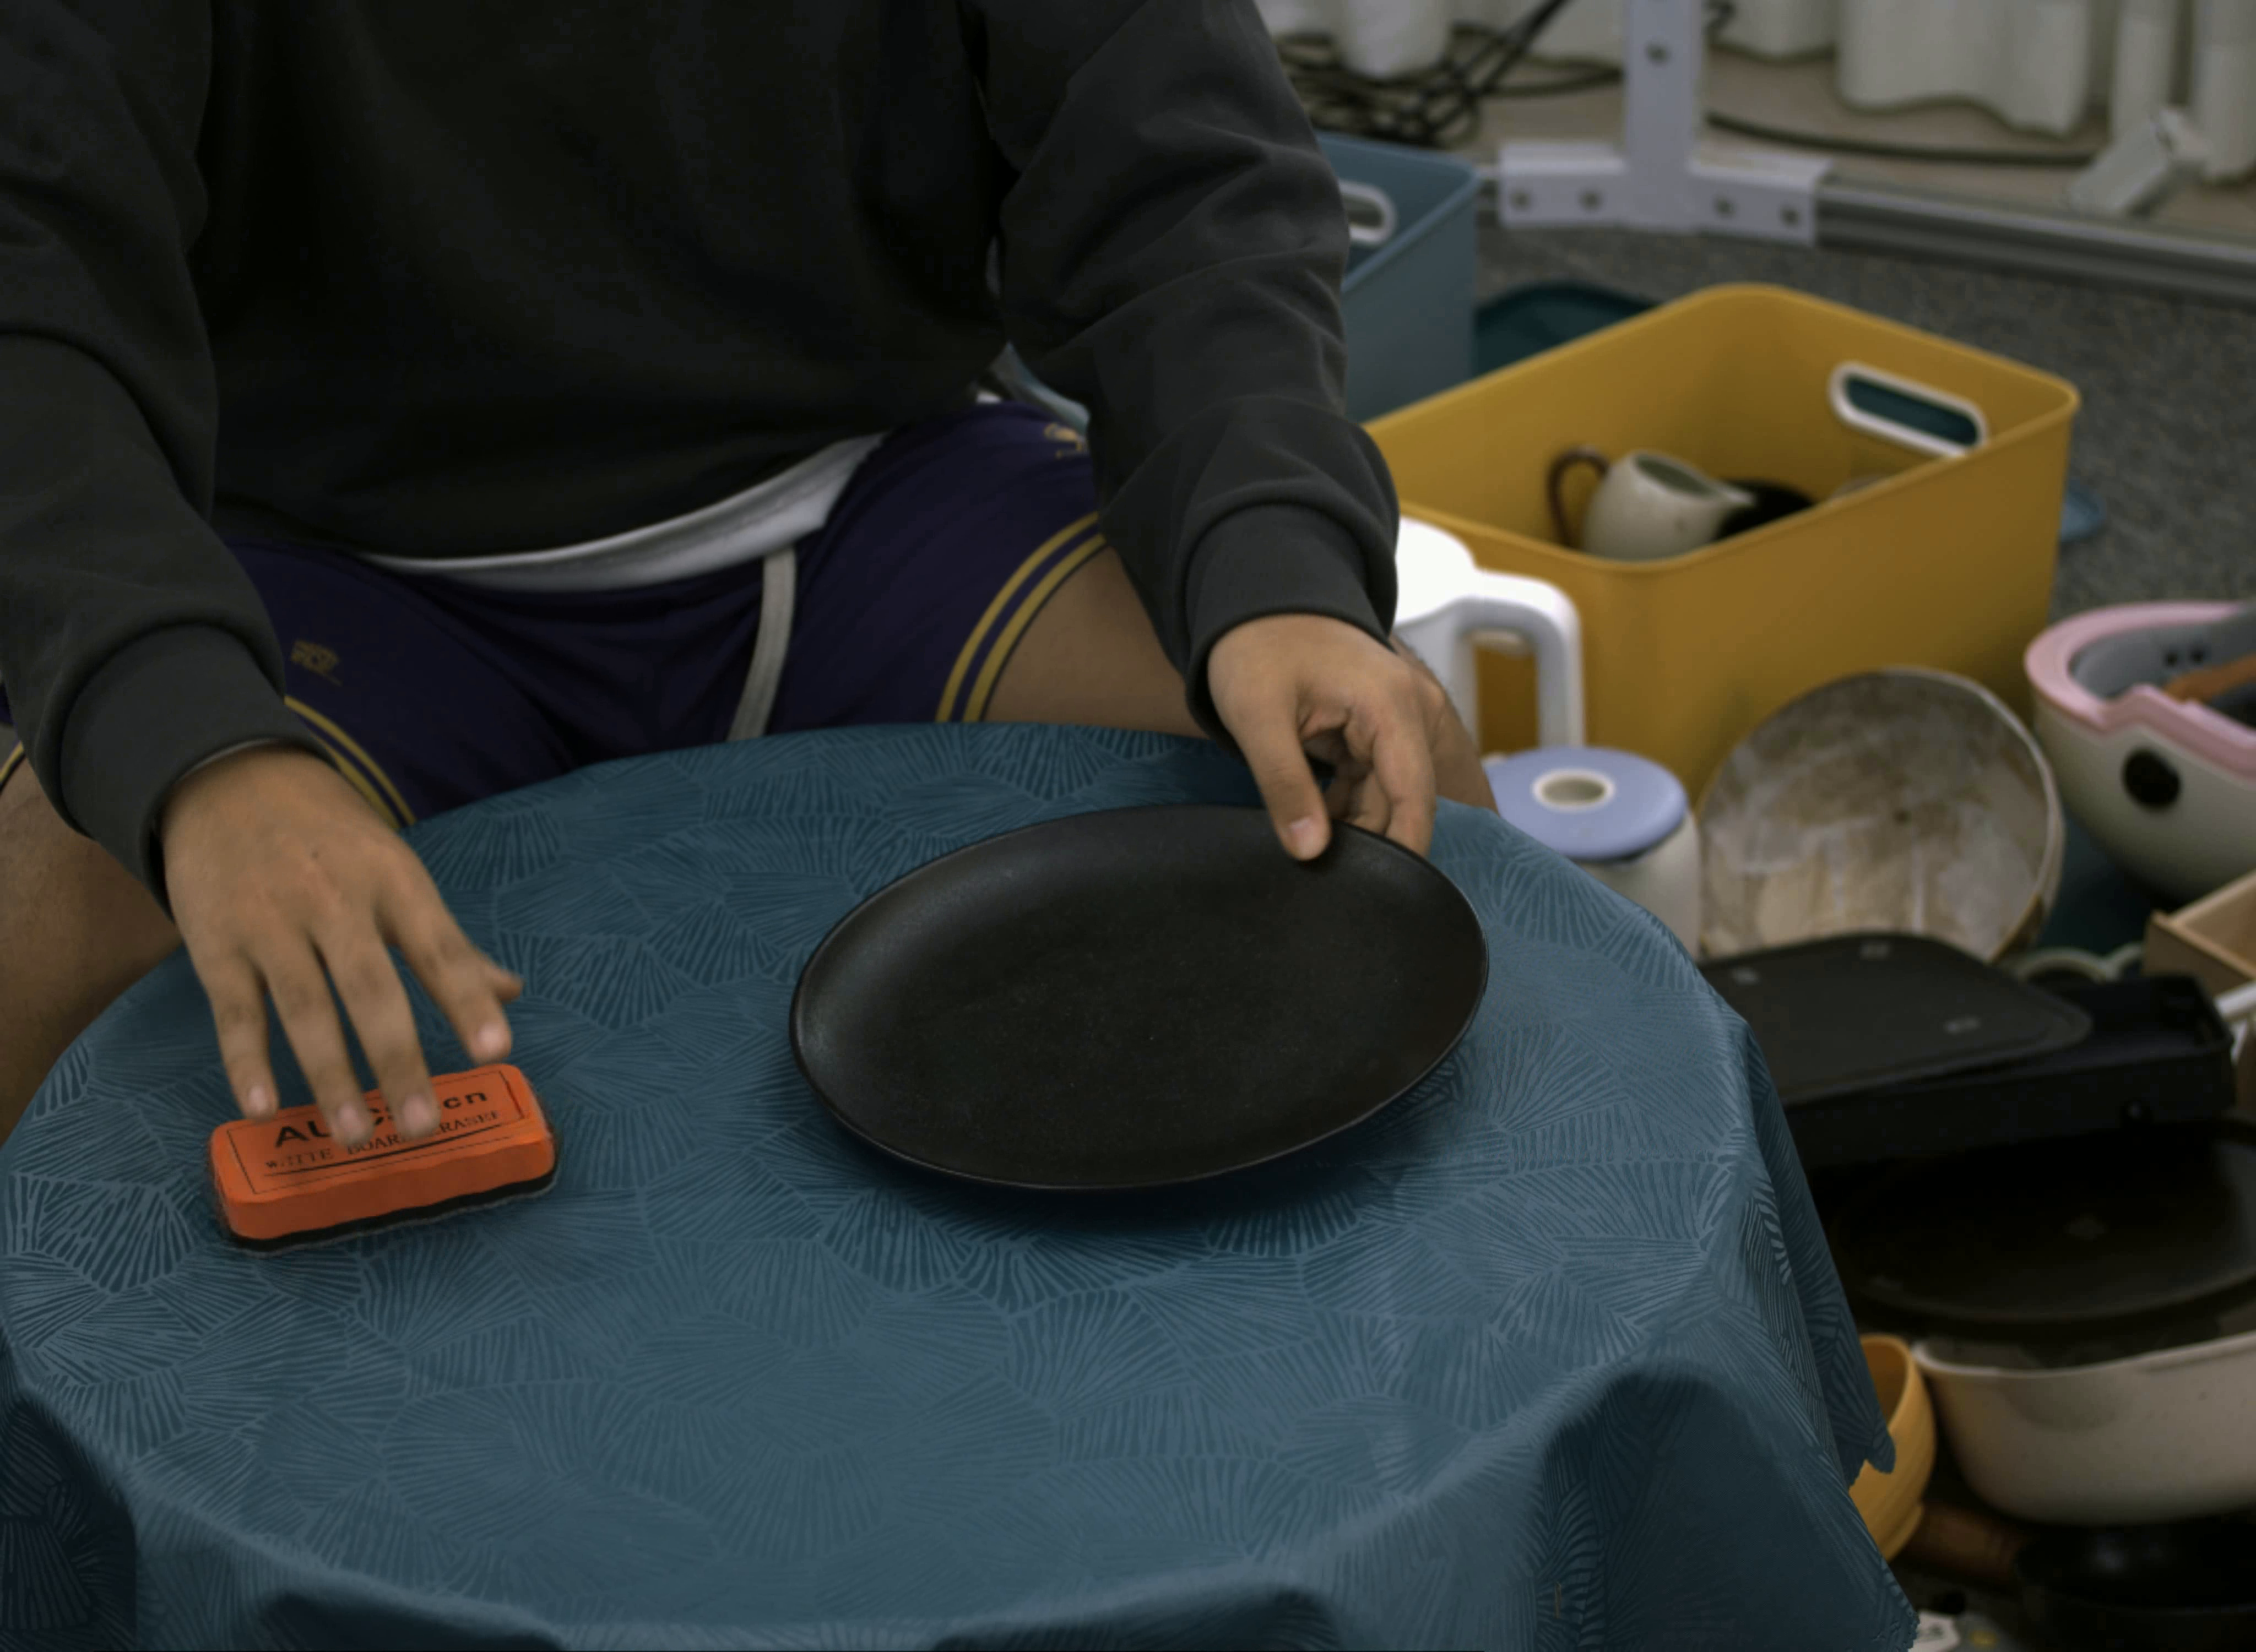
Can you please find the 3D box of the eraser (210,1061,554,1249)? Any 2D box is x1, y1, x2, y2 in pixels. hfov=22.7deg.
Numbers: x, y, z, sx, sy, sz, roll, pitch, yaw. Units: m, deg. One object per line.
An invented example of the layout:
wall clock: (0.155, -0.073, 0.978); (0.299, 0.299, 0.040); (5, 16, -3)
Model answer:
eraser: (-0.250, 0.110, 1.878); (0.108, 0.022, 0.059); (-11, 29, -18)

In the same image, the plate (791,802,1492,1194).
plate: (0.005, 0.063, 1.936); (0.243, 0.023, 0.248); (-5, 30, 3)
